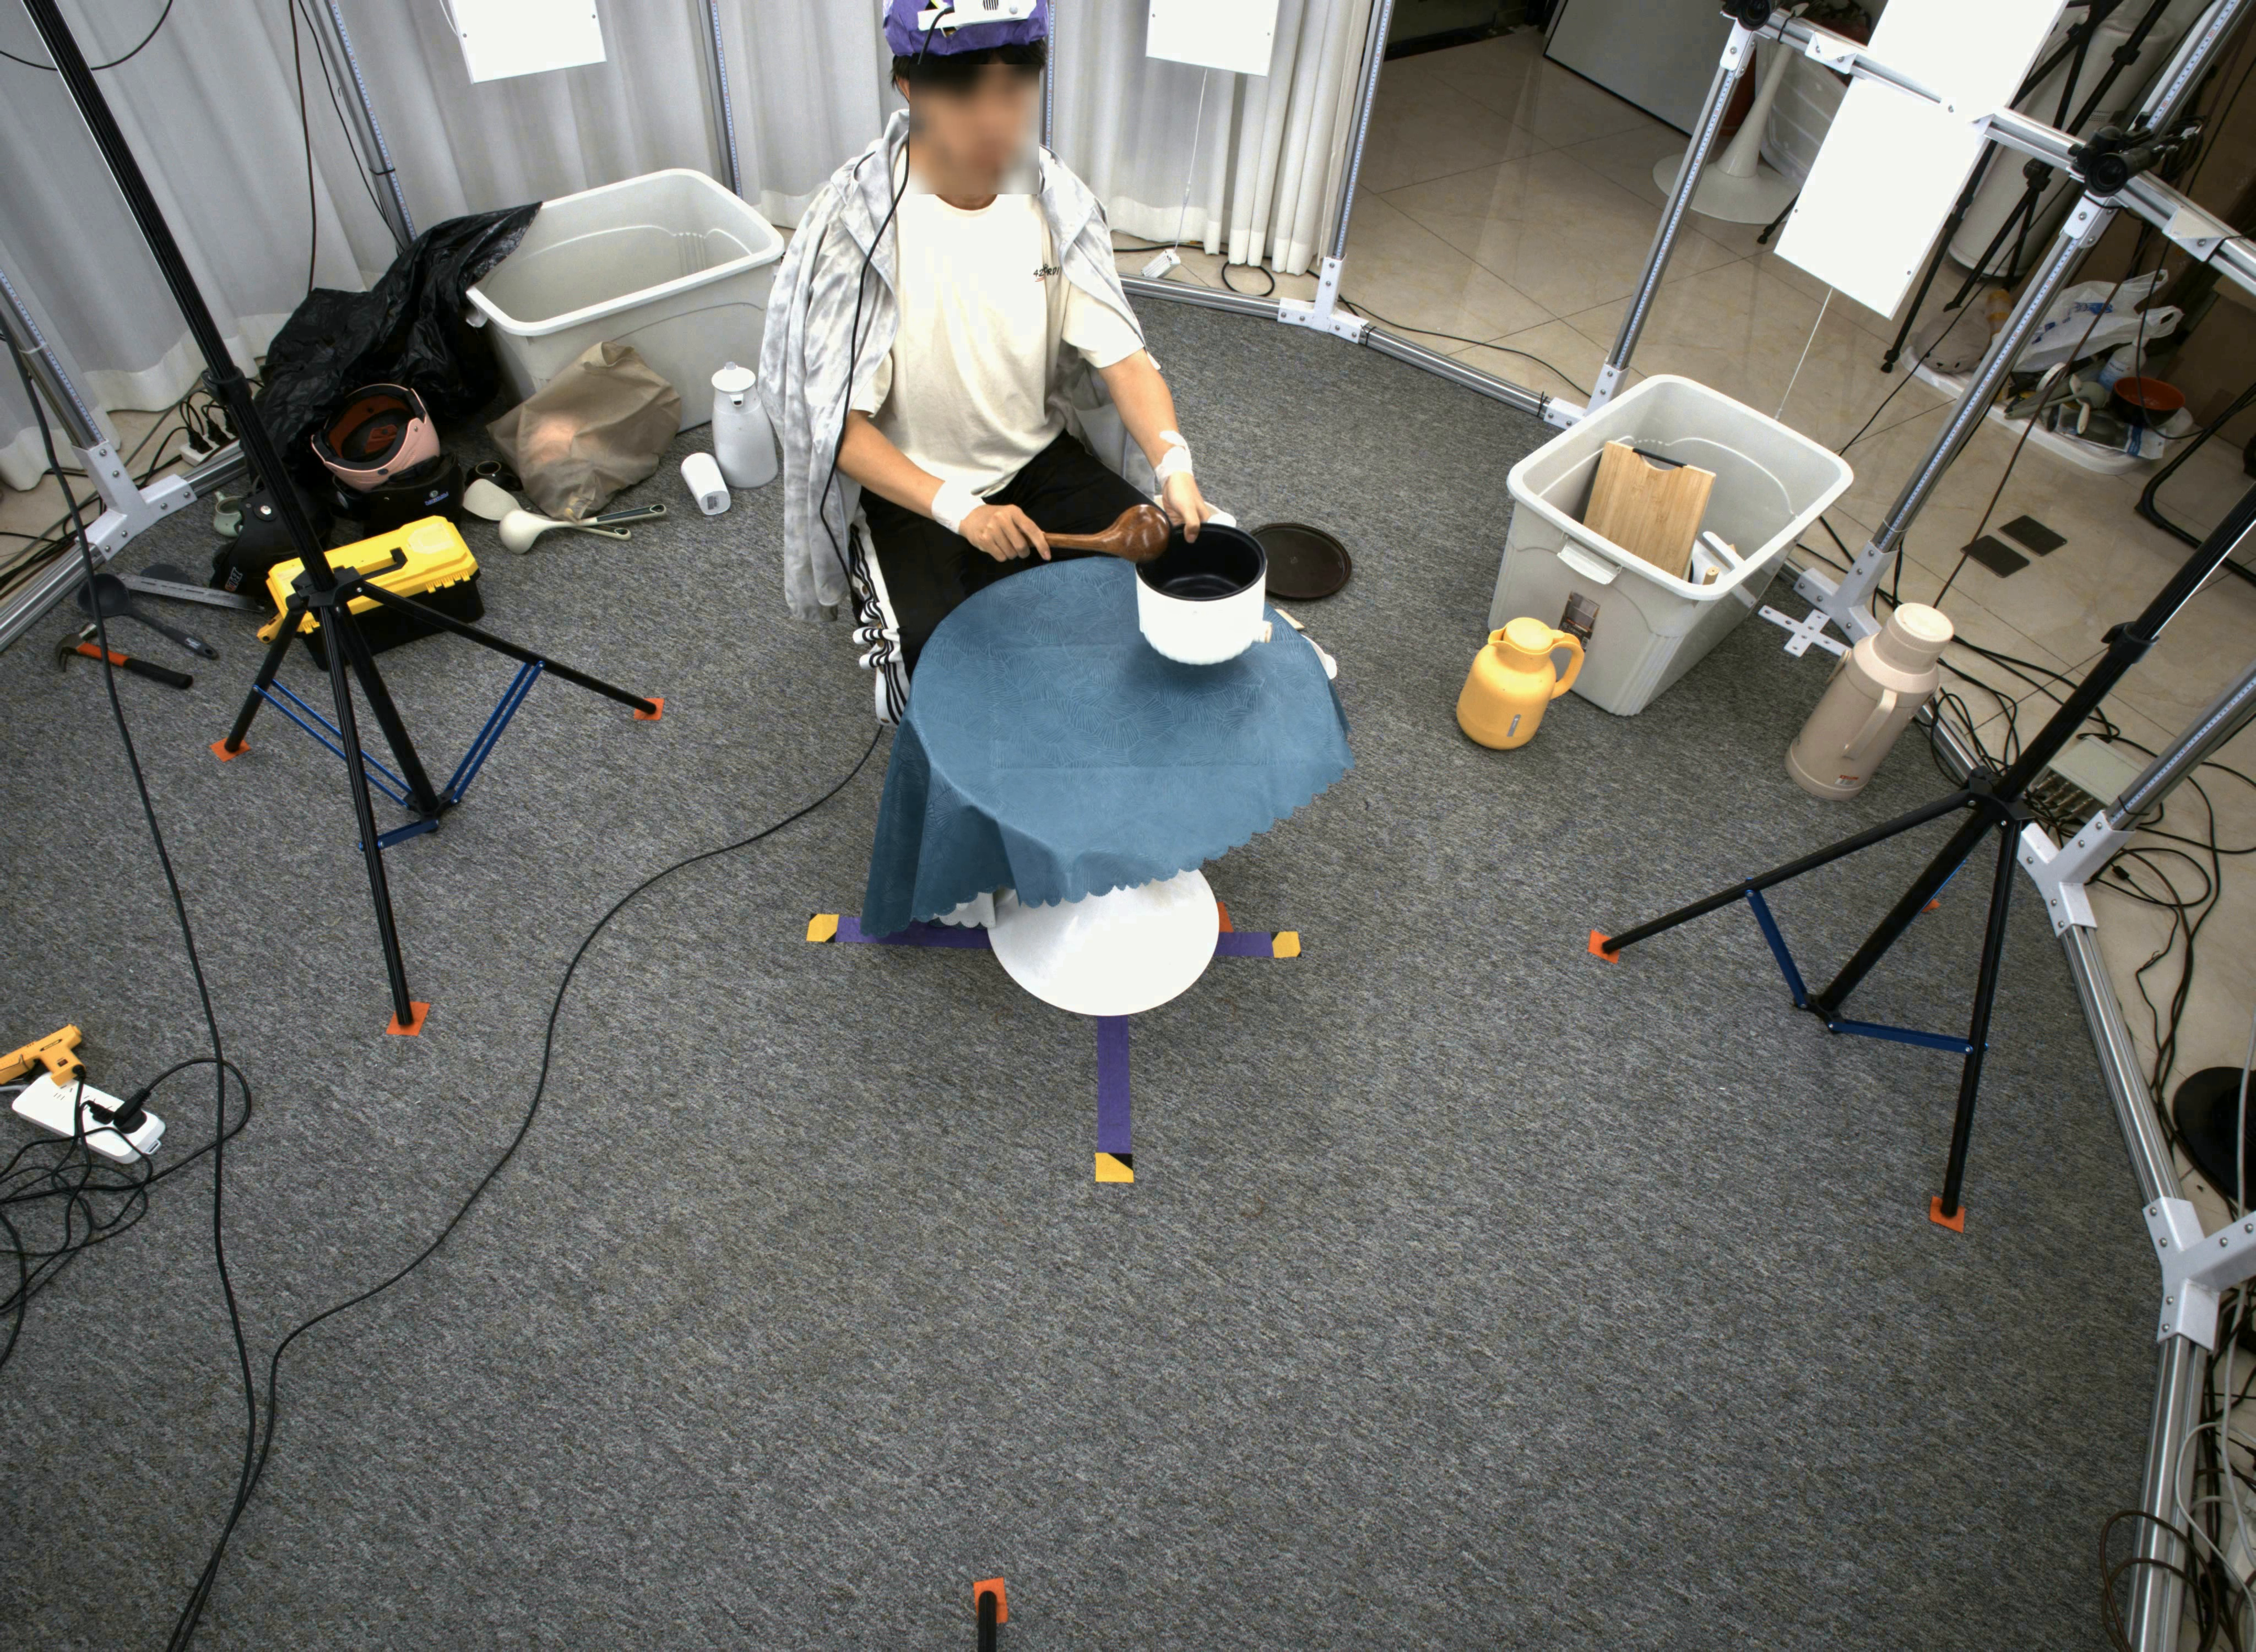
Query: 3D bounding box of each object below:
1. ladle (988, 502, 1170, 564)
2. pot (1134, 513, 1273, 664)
[{"bbox_3d":[-0.069,-0.406,1.803,0.276,0.080,0.077,7,27,34],"label":"ladle"},{"bbox_3d":[0.108,-0.322,1.809,0.191,0.139,0.245,10,48,18],"label":"pot"}]
